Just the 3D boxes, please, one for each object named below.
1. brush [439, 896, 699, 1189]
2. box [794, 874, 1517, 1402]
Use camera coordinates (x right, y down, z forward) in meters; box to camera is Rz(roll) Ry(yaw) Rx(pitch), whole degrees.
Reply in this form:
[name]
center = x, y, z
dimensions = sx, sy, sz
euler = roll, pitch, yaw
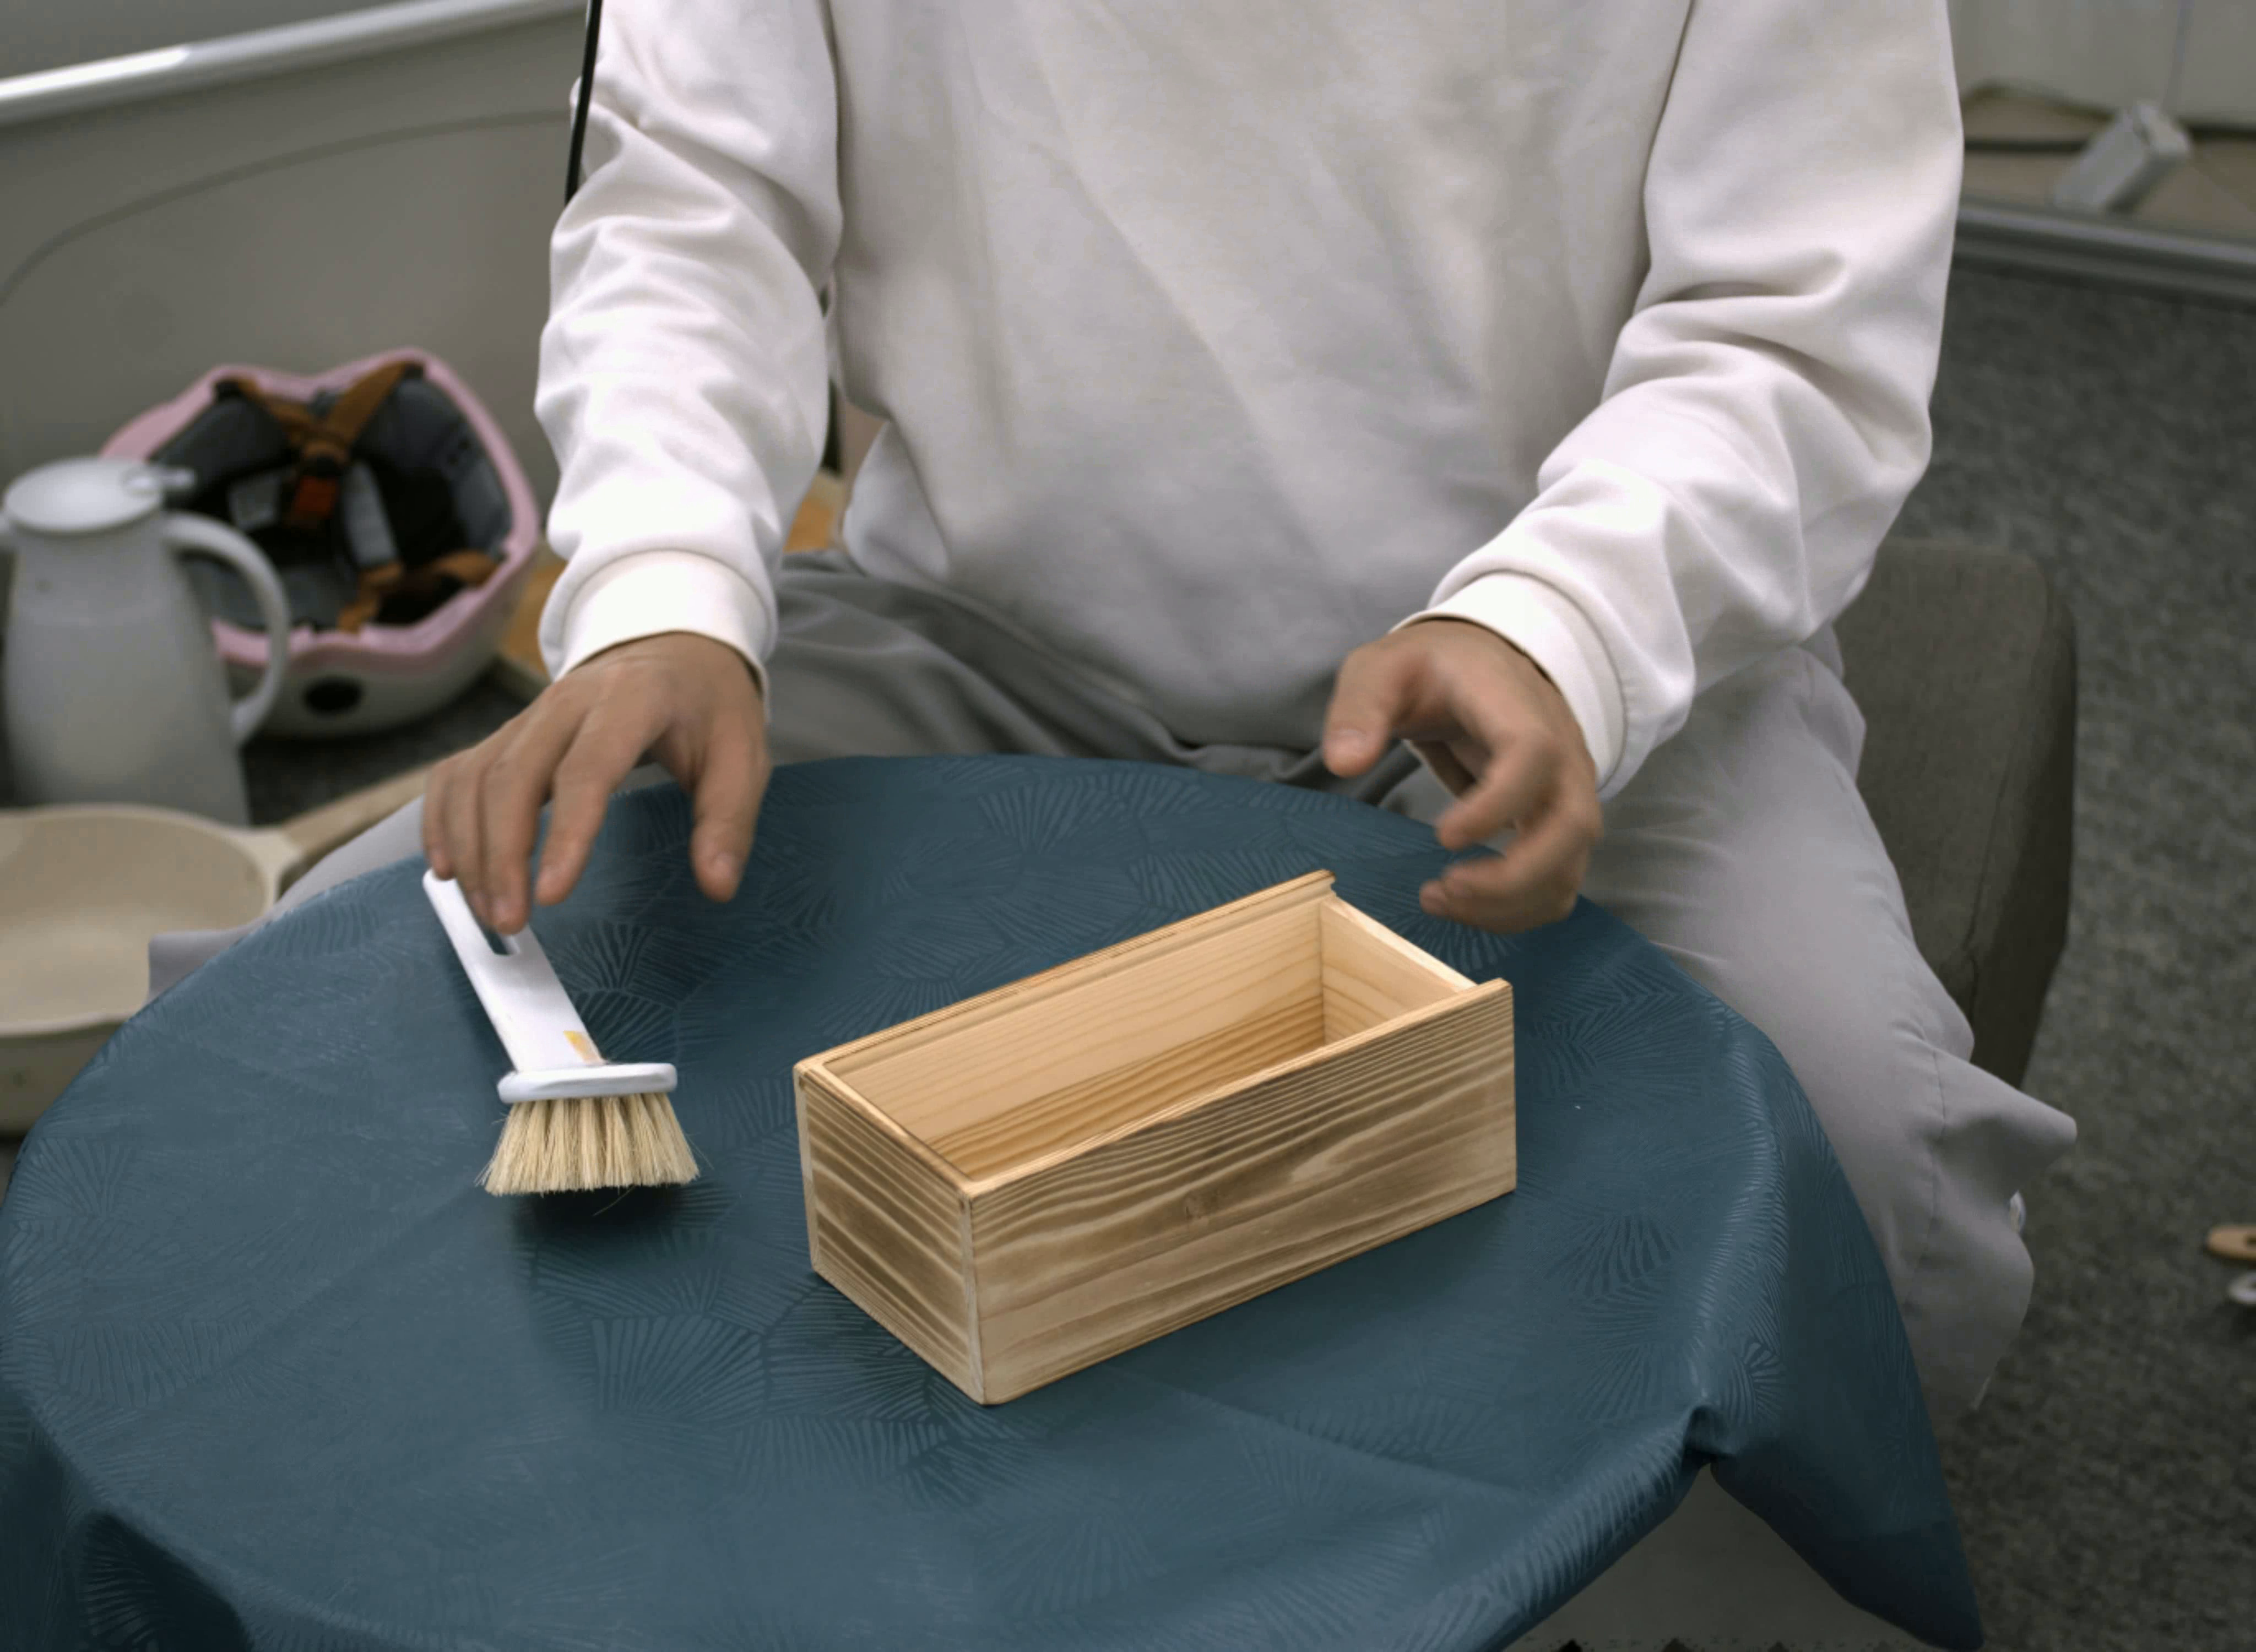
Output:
[brush]
center = -0.204, 0.077, 1.954
dimensions = 0.068, 0.056, 0.267
euler = 11, 7, -21
[box]
center = 0.011, 0.098, 1.823
dimensions = 0.213, 0.079, 0.108
euler = -19, 31, -30
